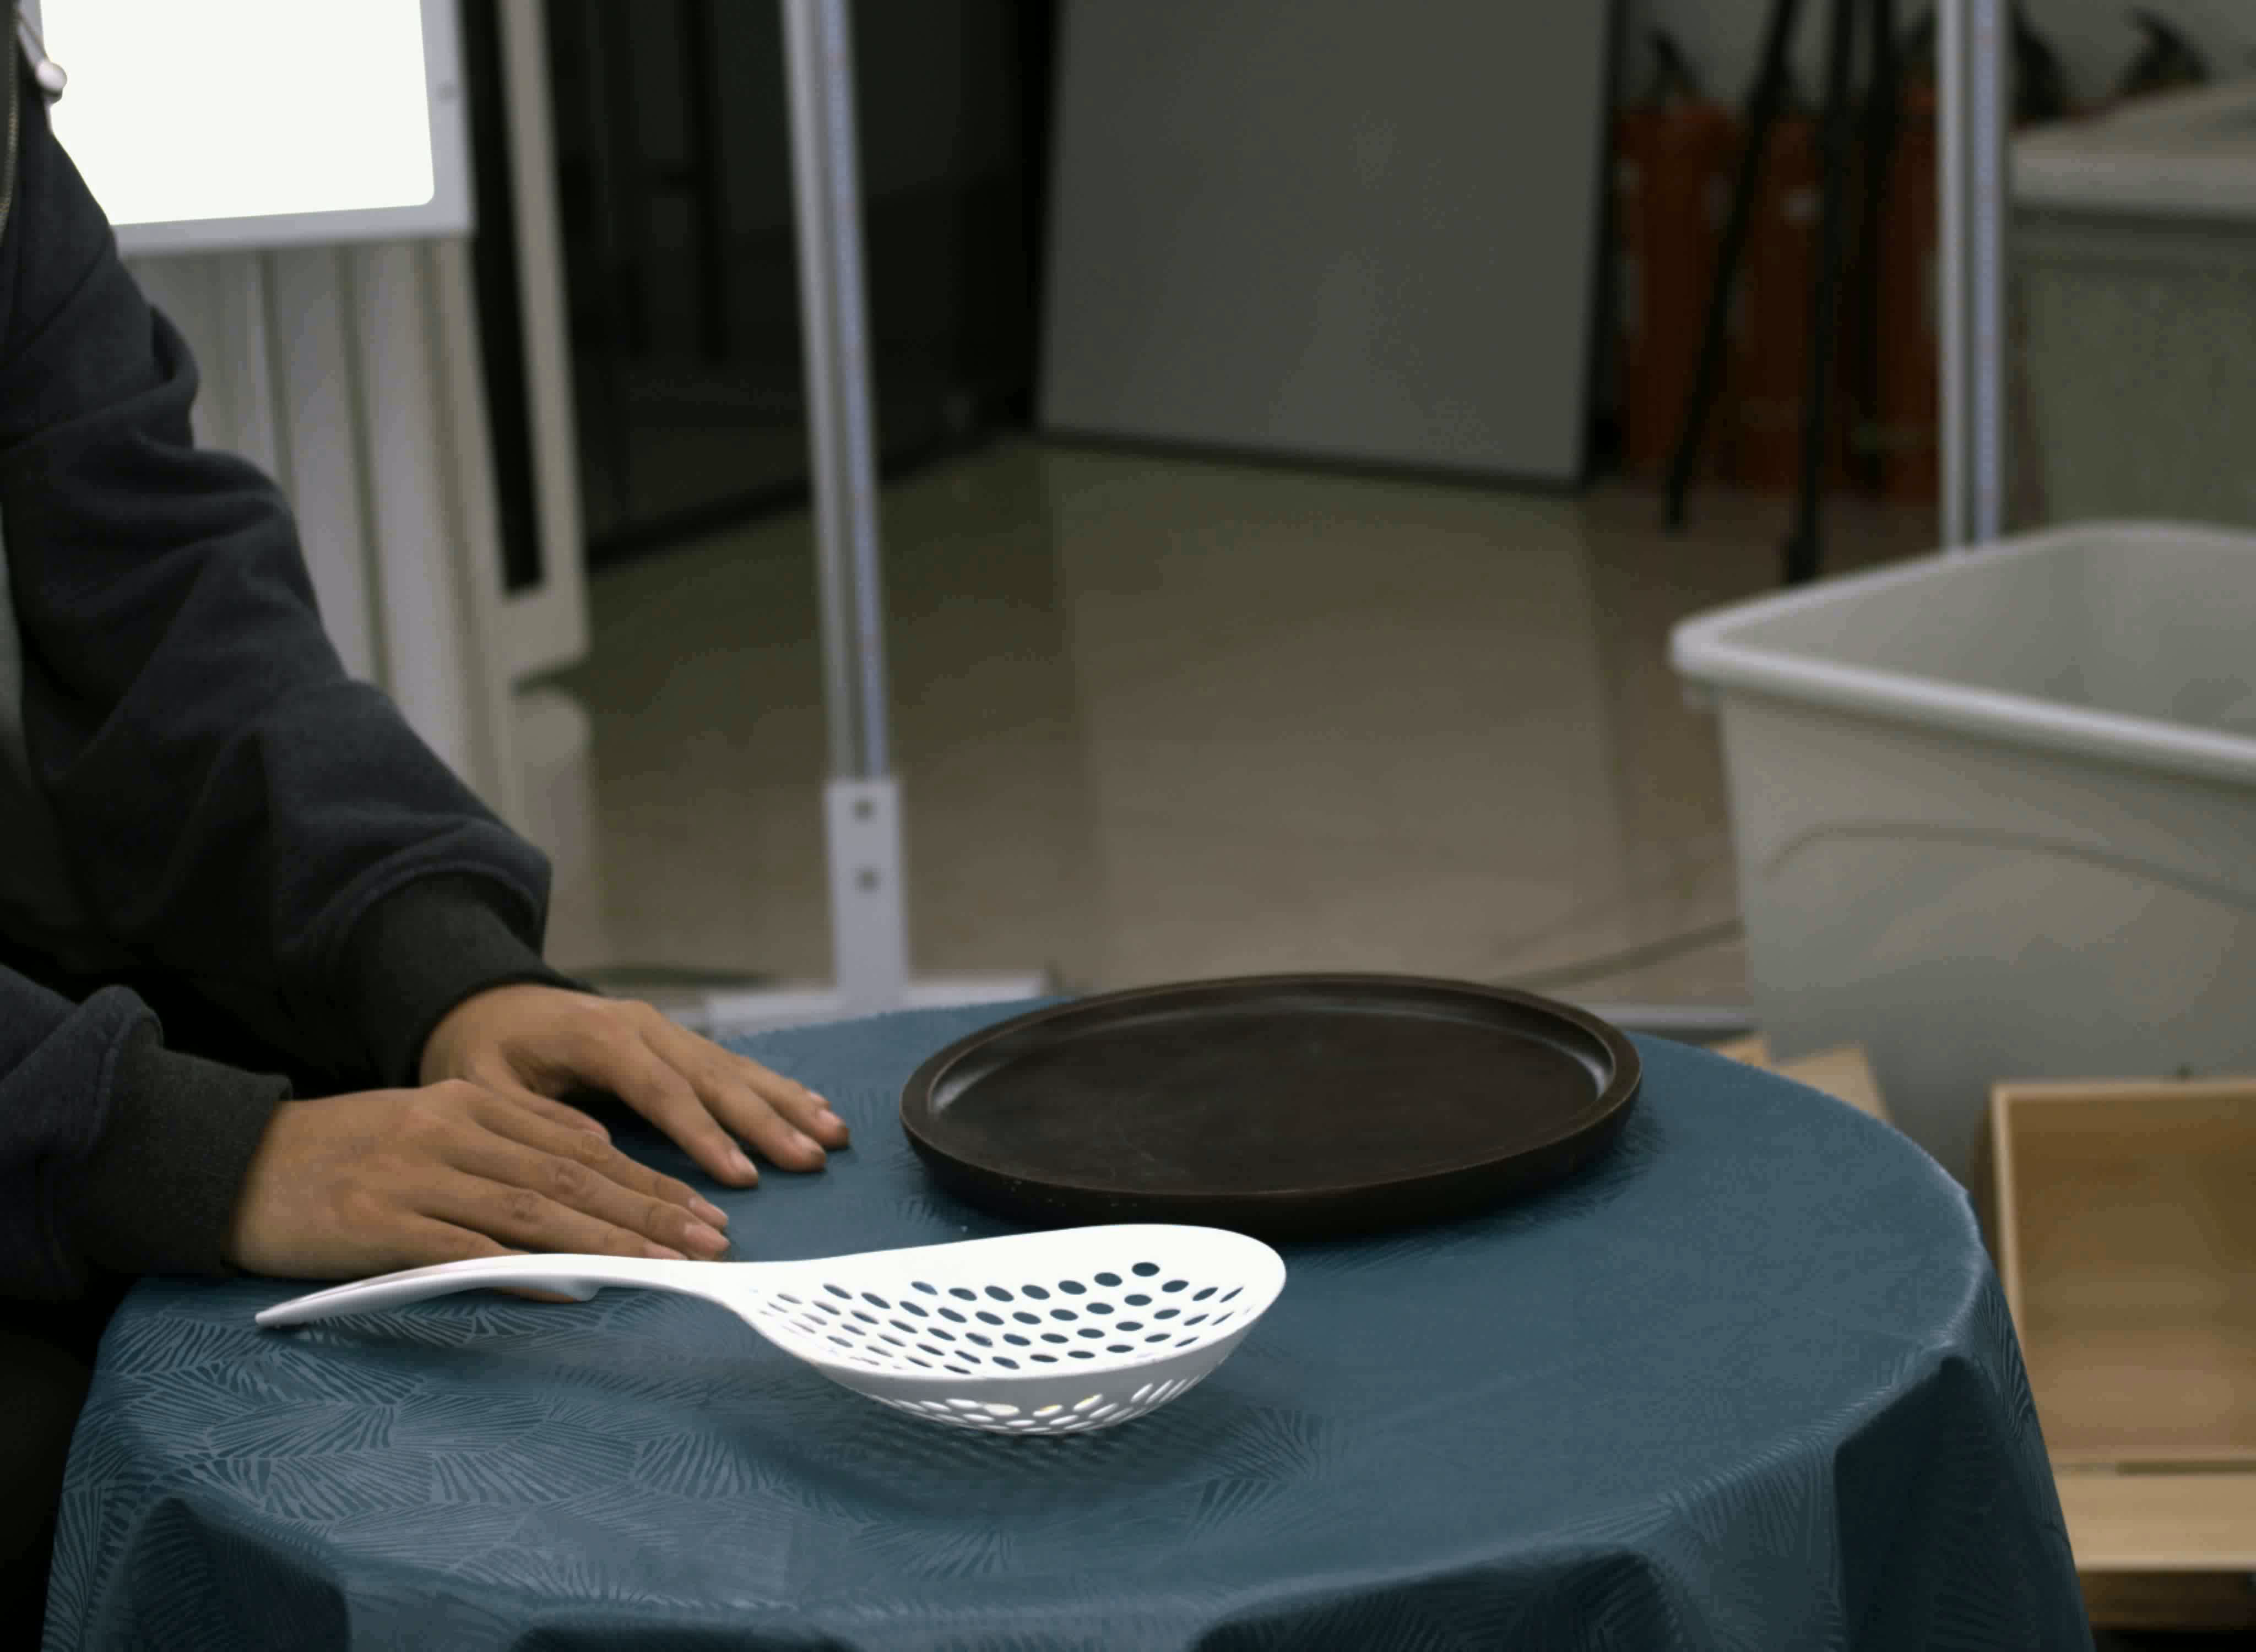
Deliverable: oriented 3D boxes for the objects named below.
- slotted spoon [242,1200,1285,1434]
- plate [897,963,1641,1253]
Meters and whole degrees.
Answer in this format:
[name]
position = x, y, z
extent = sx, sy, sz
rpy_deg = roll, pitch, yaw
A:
[slotted spoon]
position = -0.117, 0.147, 1.611
extent = 0.348, 0.051, 0.135
rpy_deg = 3, 18, 27
[plate]
position = 0.047, 0.096, 1.811
extent = 0.251, 0.029, 0.255
rpy_deg = -5, 14, 0
